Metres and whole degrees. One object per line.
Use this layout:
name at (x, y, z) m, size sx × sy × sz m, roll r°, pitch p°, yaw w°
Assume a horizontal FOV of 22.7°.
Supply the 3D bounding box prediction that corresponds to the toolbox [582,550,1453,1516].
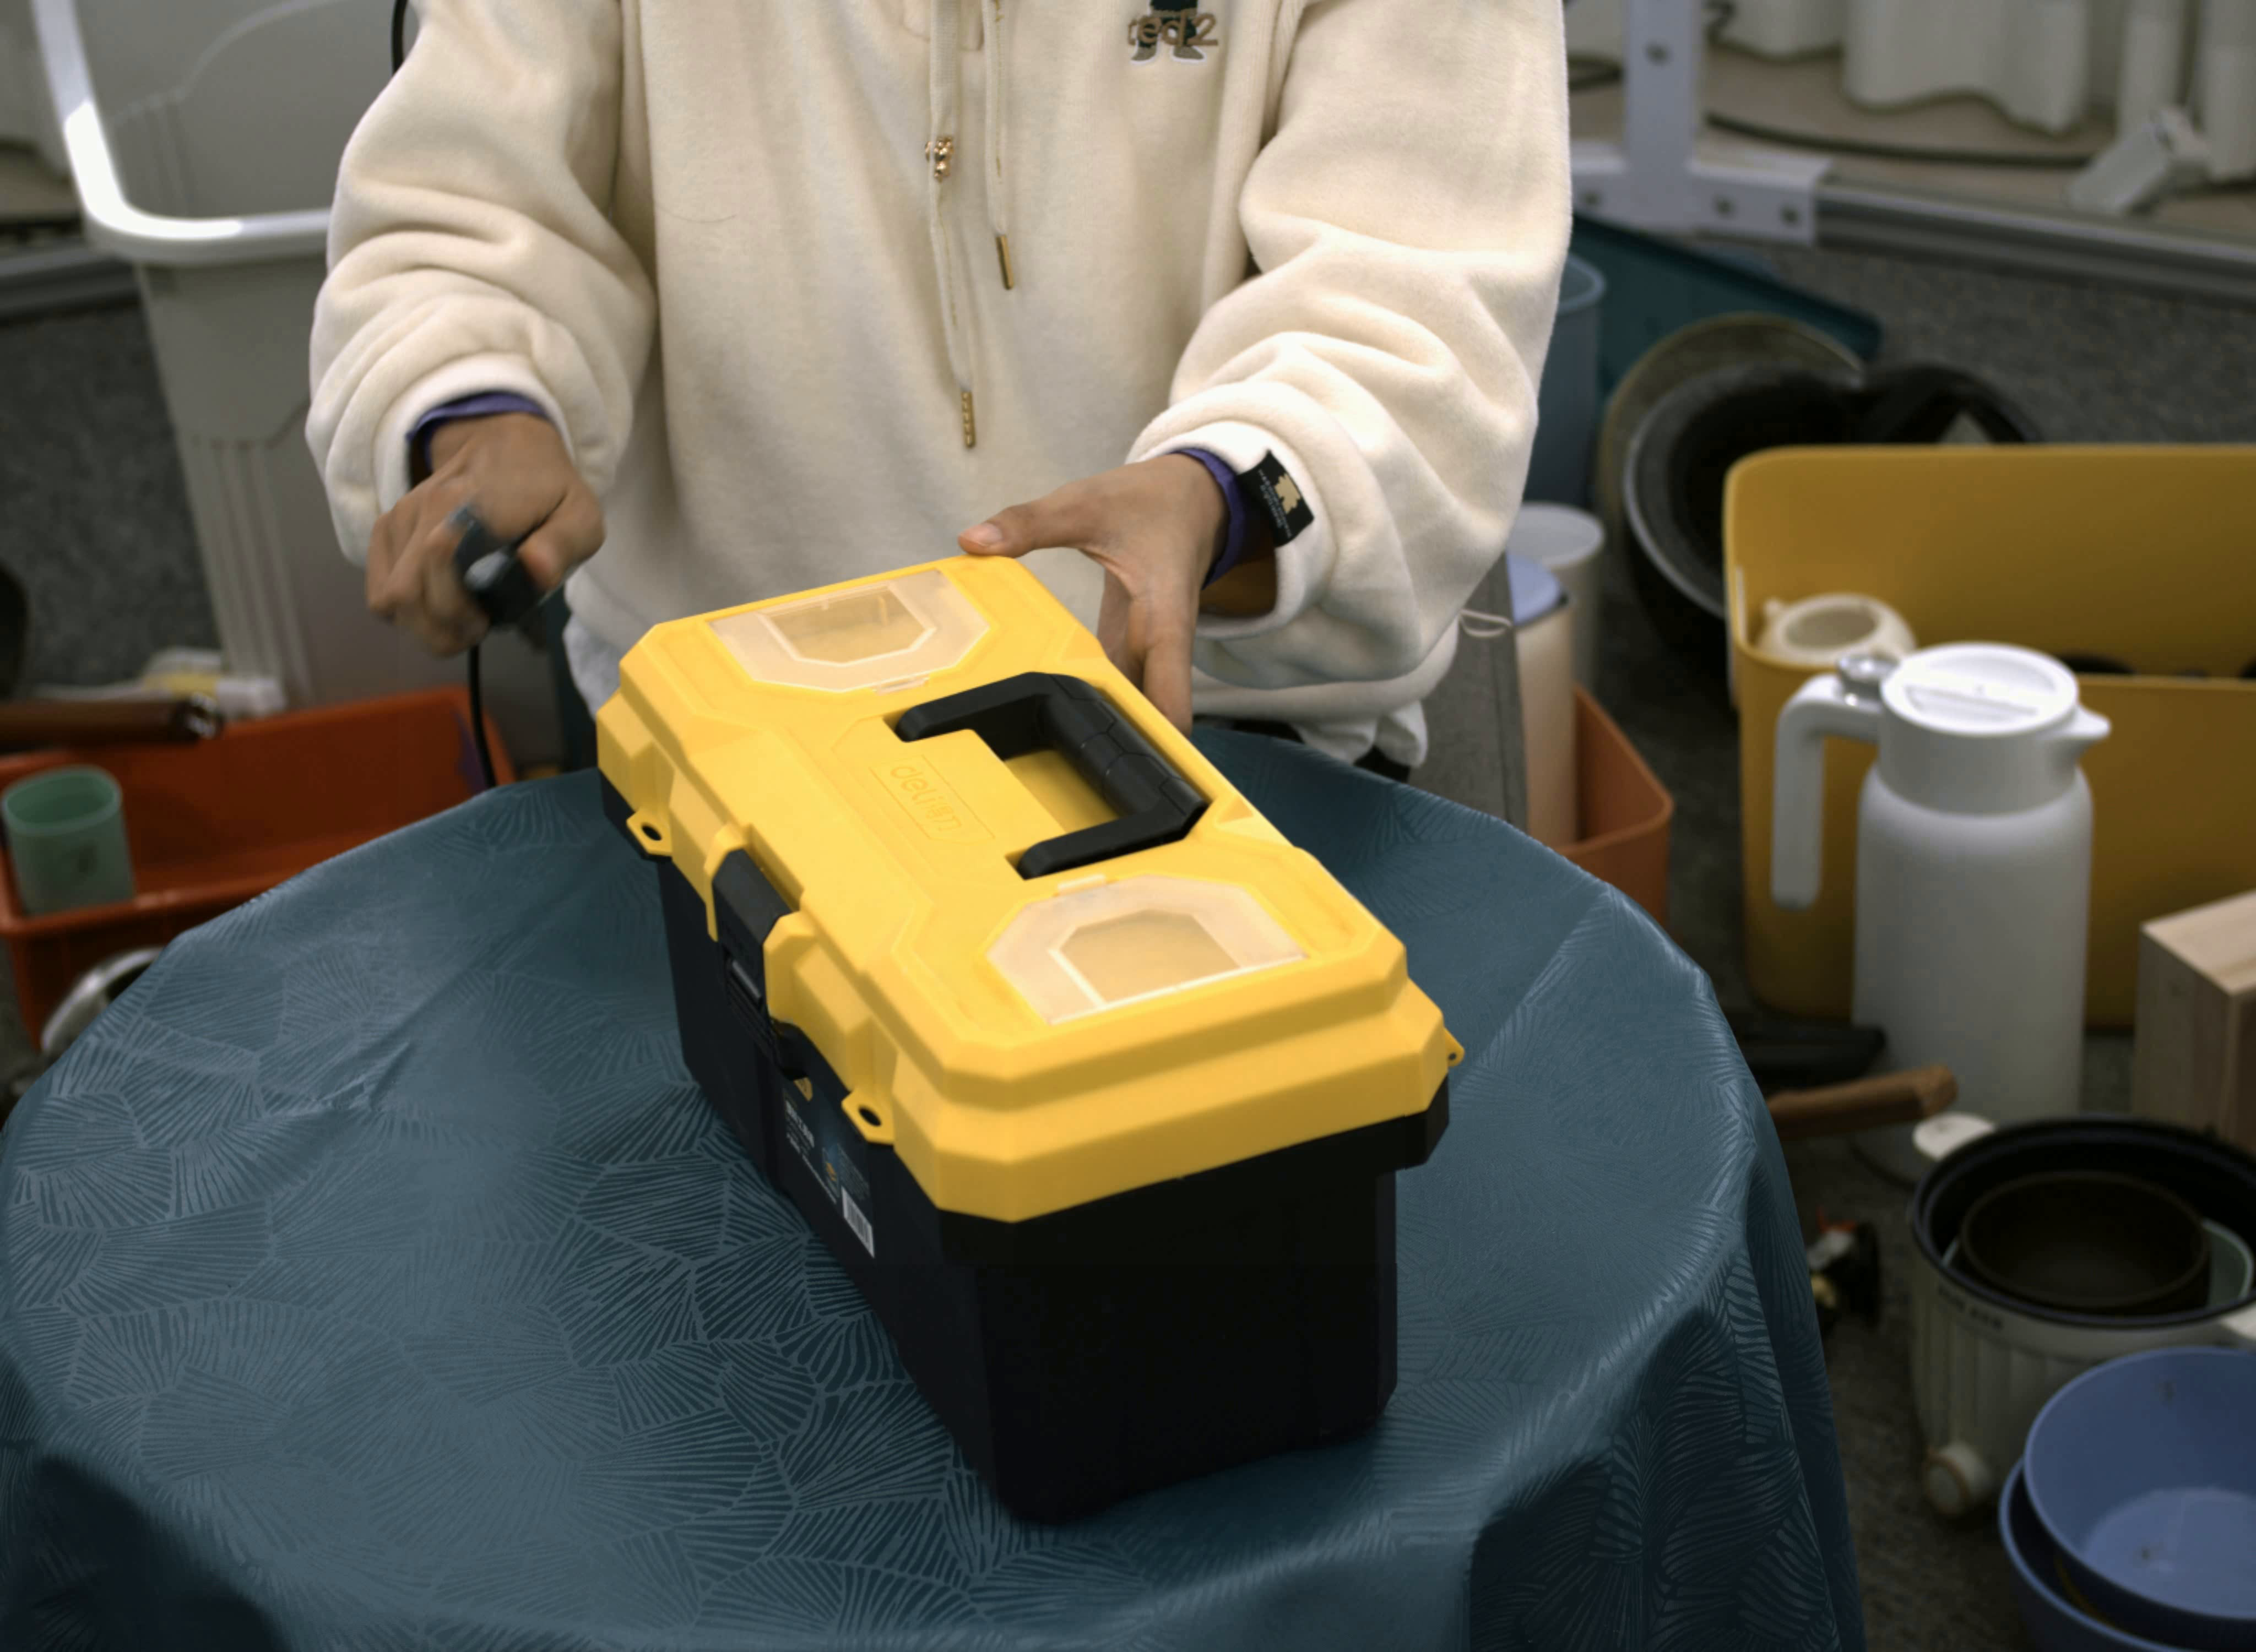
toolbox at (-0.040, 0.059, 1.799) m, size 0.182 × 0.171 × 0.354 m, roll -13°, pitch 29°, yaw -19°

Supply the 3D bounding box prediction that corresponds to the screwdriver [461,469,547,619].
screwdriver at (-0.221, -0.102, 1.955) m, size 0.031 × 0.032 × 0.195 m, roll -5°, pitch -10°, yaw -3°
